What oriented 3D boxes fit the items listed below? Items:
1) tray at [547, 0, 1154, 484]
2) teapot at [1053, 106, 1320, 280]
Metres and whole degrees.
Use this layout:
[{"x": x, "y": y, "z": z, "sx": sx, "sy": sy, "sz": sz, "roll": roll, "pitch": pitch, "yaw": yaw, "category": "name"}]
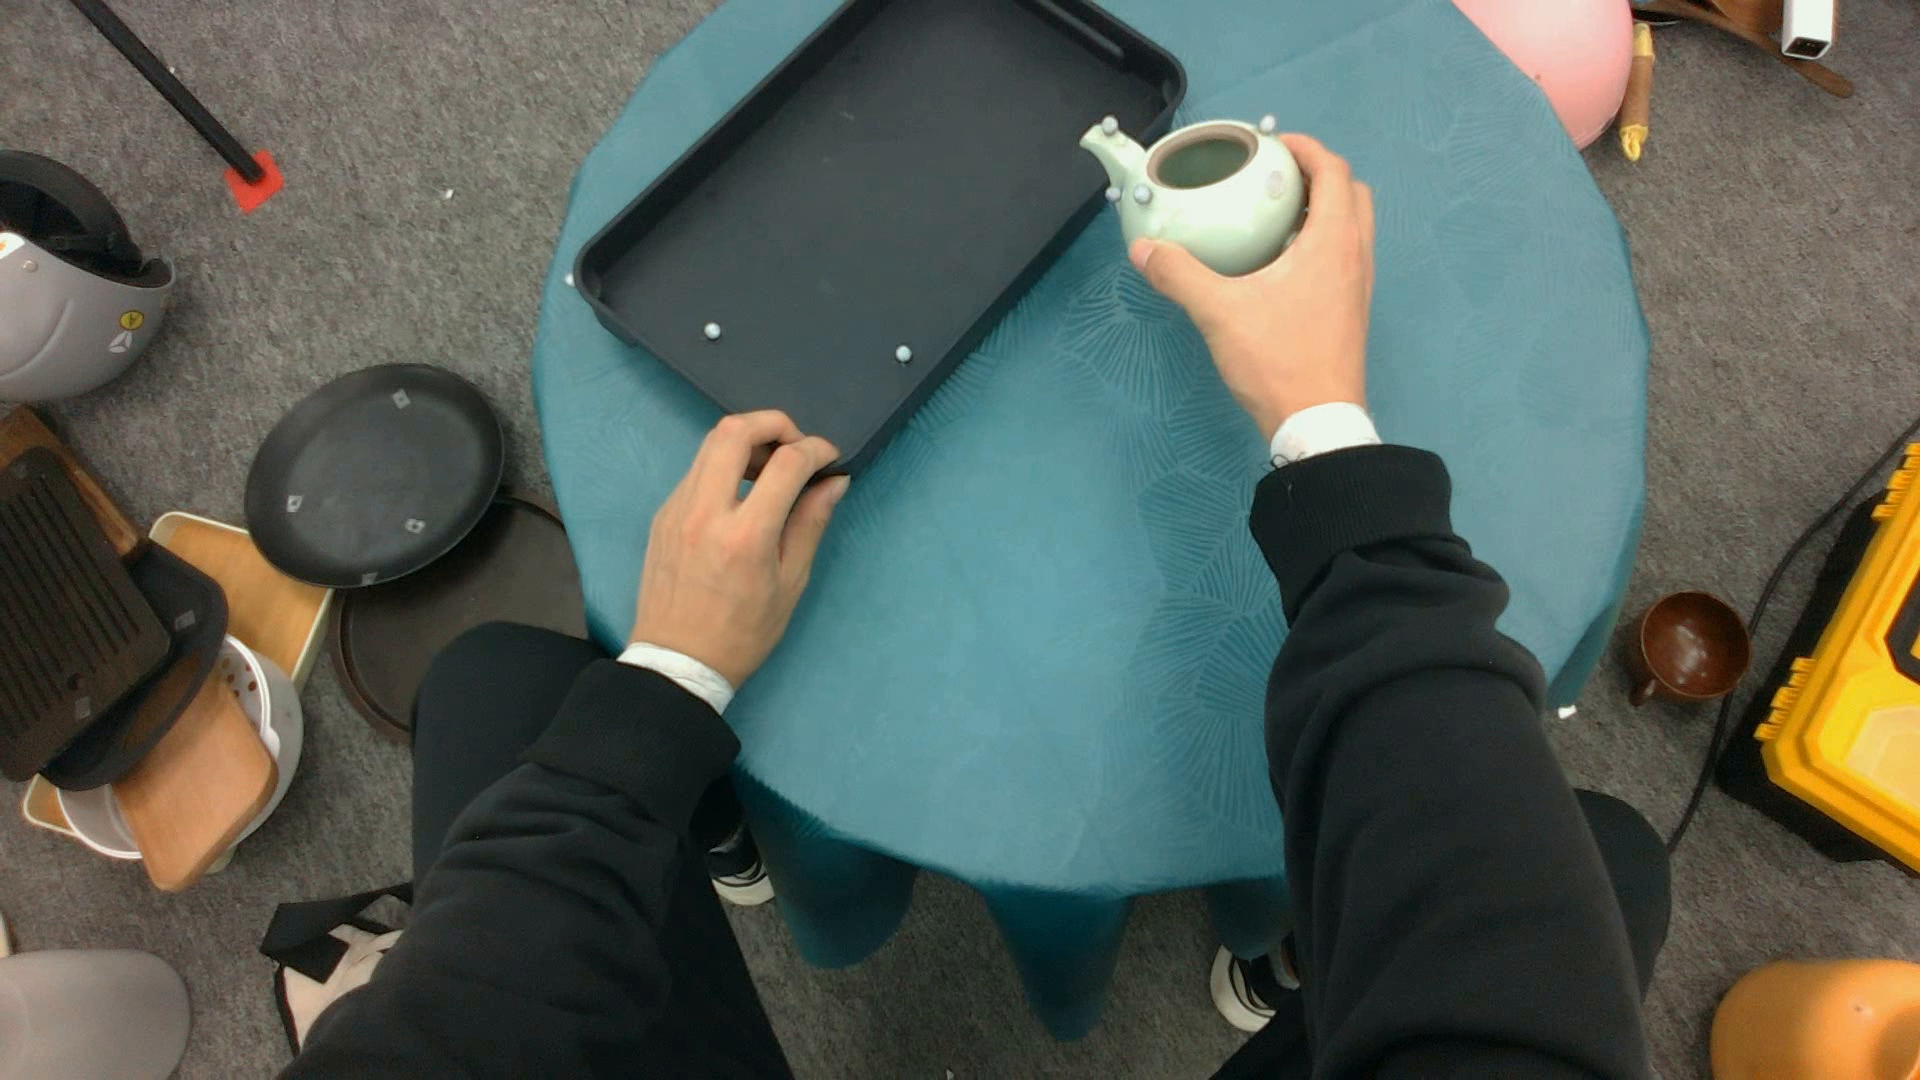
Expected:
[{"x": -0.052, "y": -0.193, "z": 0.743, "sx": 0.184, "sy": 0.037, "sz": 0.319, "roll": 35, "pitch": 72, "yaw": 9, "category": "tray"}, {"x": 0.111, "y": -0.170, "z": 0.671, "sx": 0.144, "sy": 0.074, "sz": 0.088, "roll": 22, "pitch": 60, "yaw": 40, "category": "teapot"}]
